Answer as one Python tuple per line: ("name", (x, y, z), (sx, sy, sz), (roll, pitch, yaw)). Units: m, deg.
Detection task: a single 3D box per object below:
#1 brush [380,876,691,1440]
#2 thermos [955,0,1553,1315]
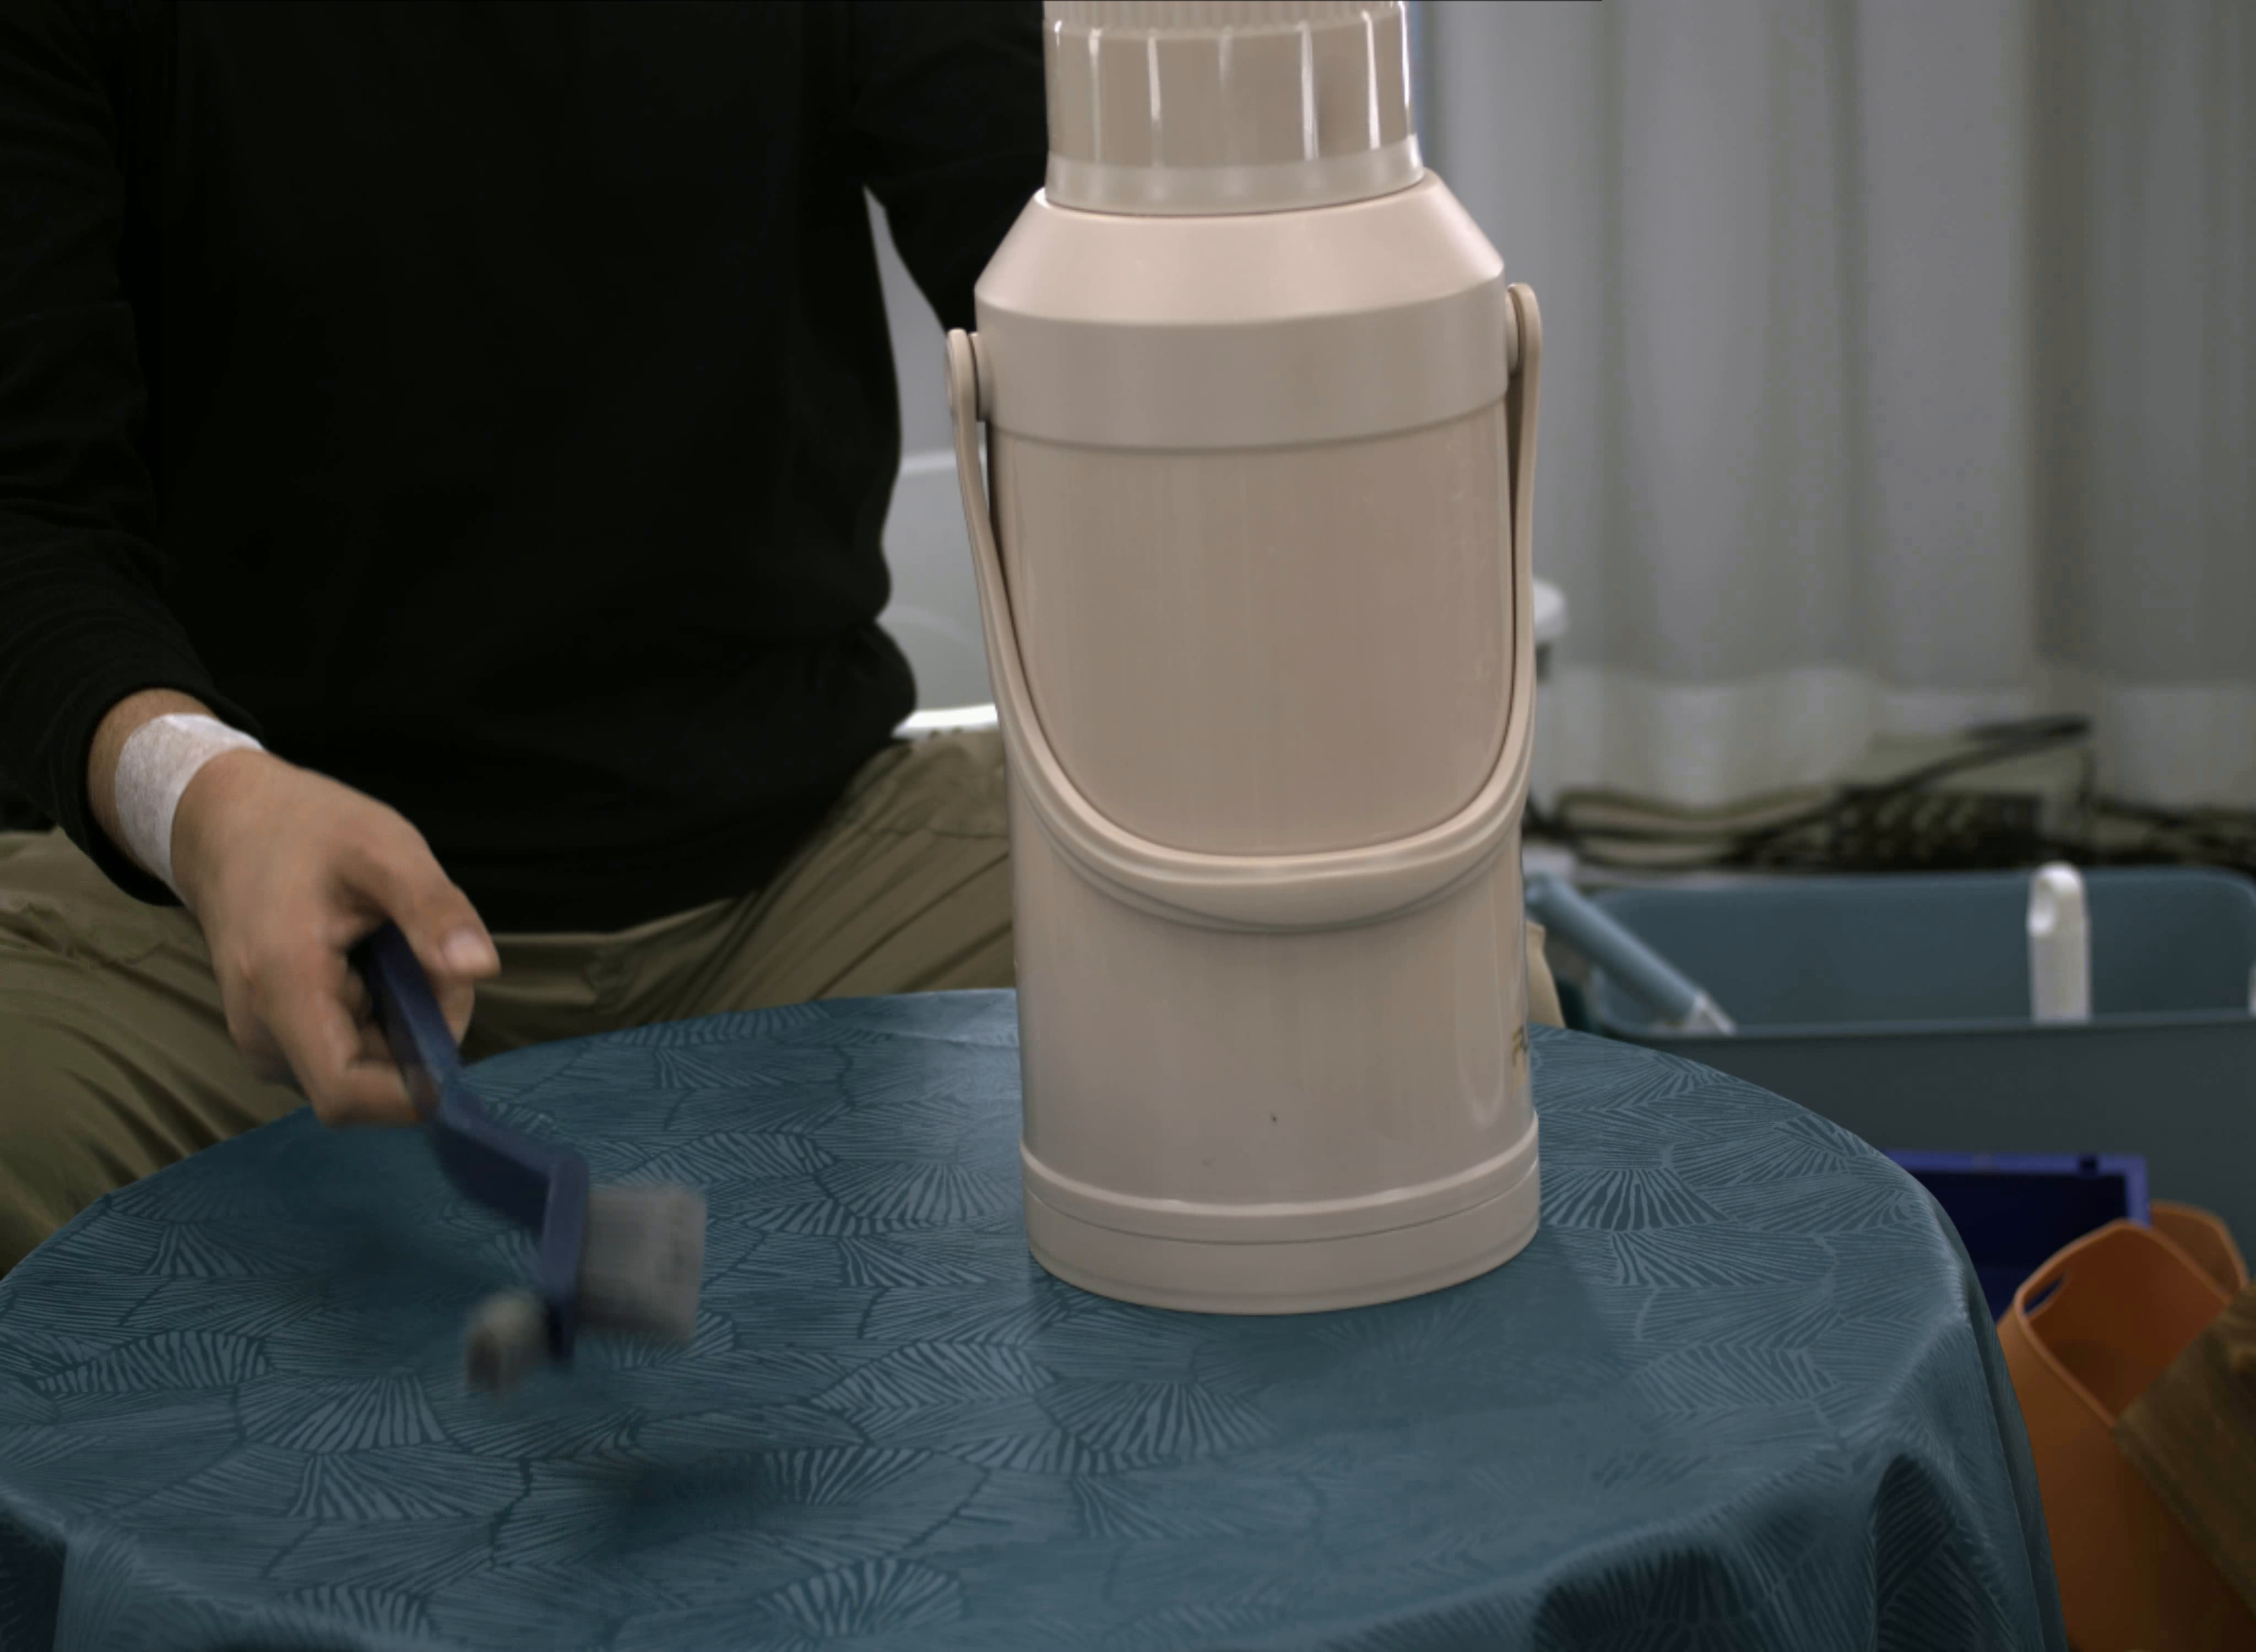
("brush", (-0.196, 0.089, 1.564), (0.095, 0.033, 0.276), (-8, 27, -25))
("thermos", (0.039, -0.072, 1.642), (0.174, 0.405, 0.208), (-7, 14, -9))
